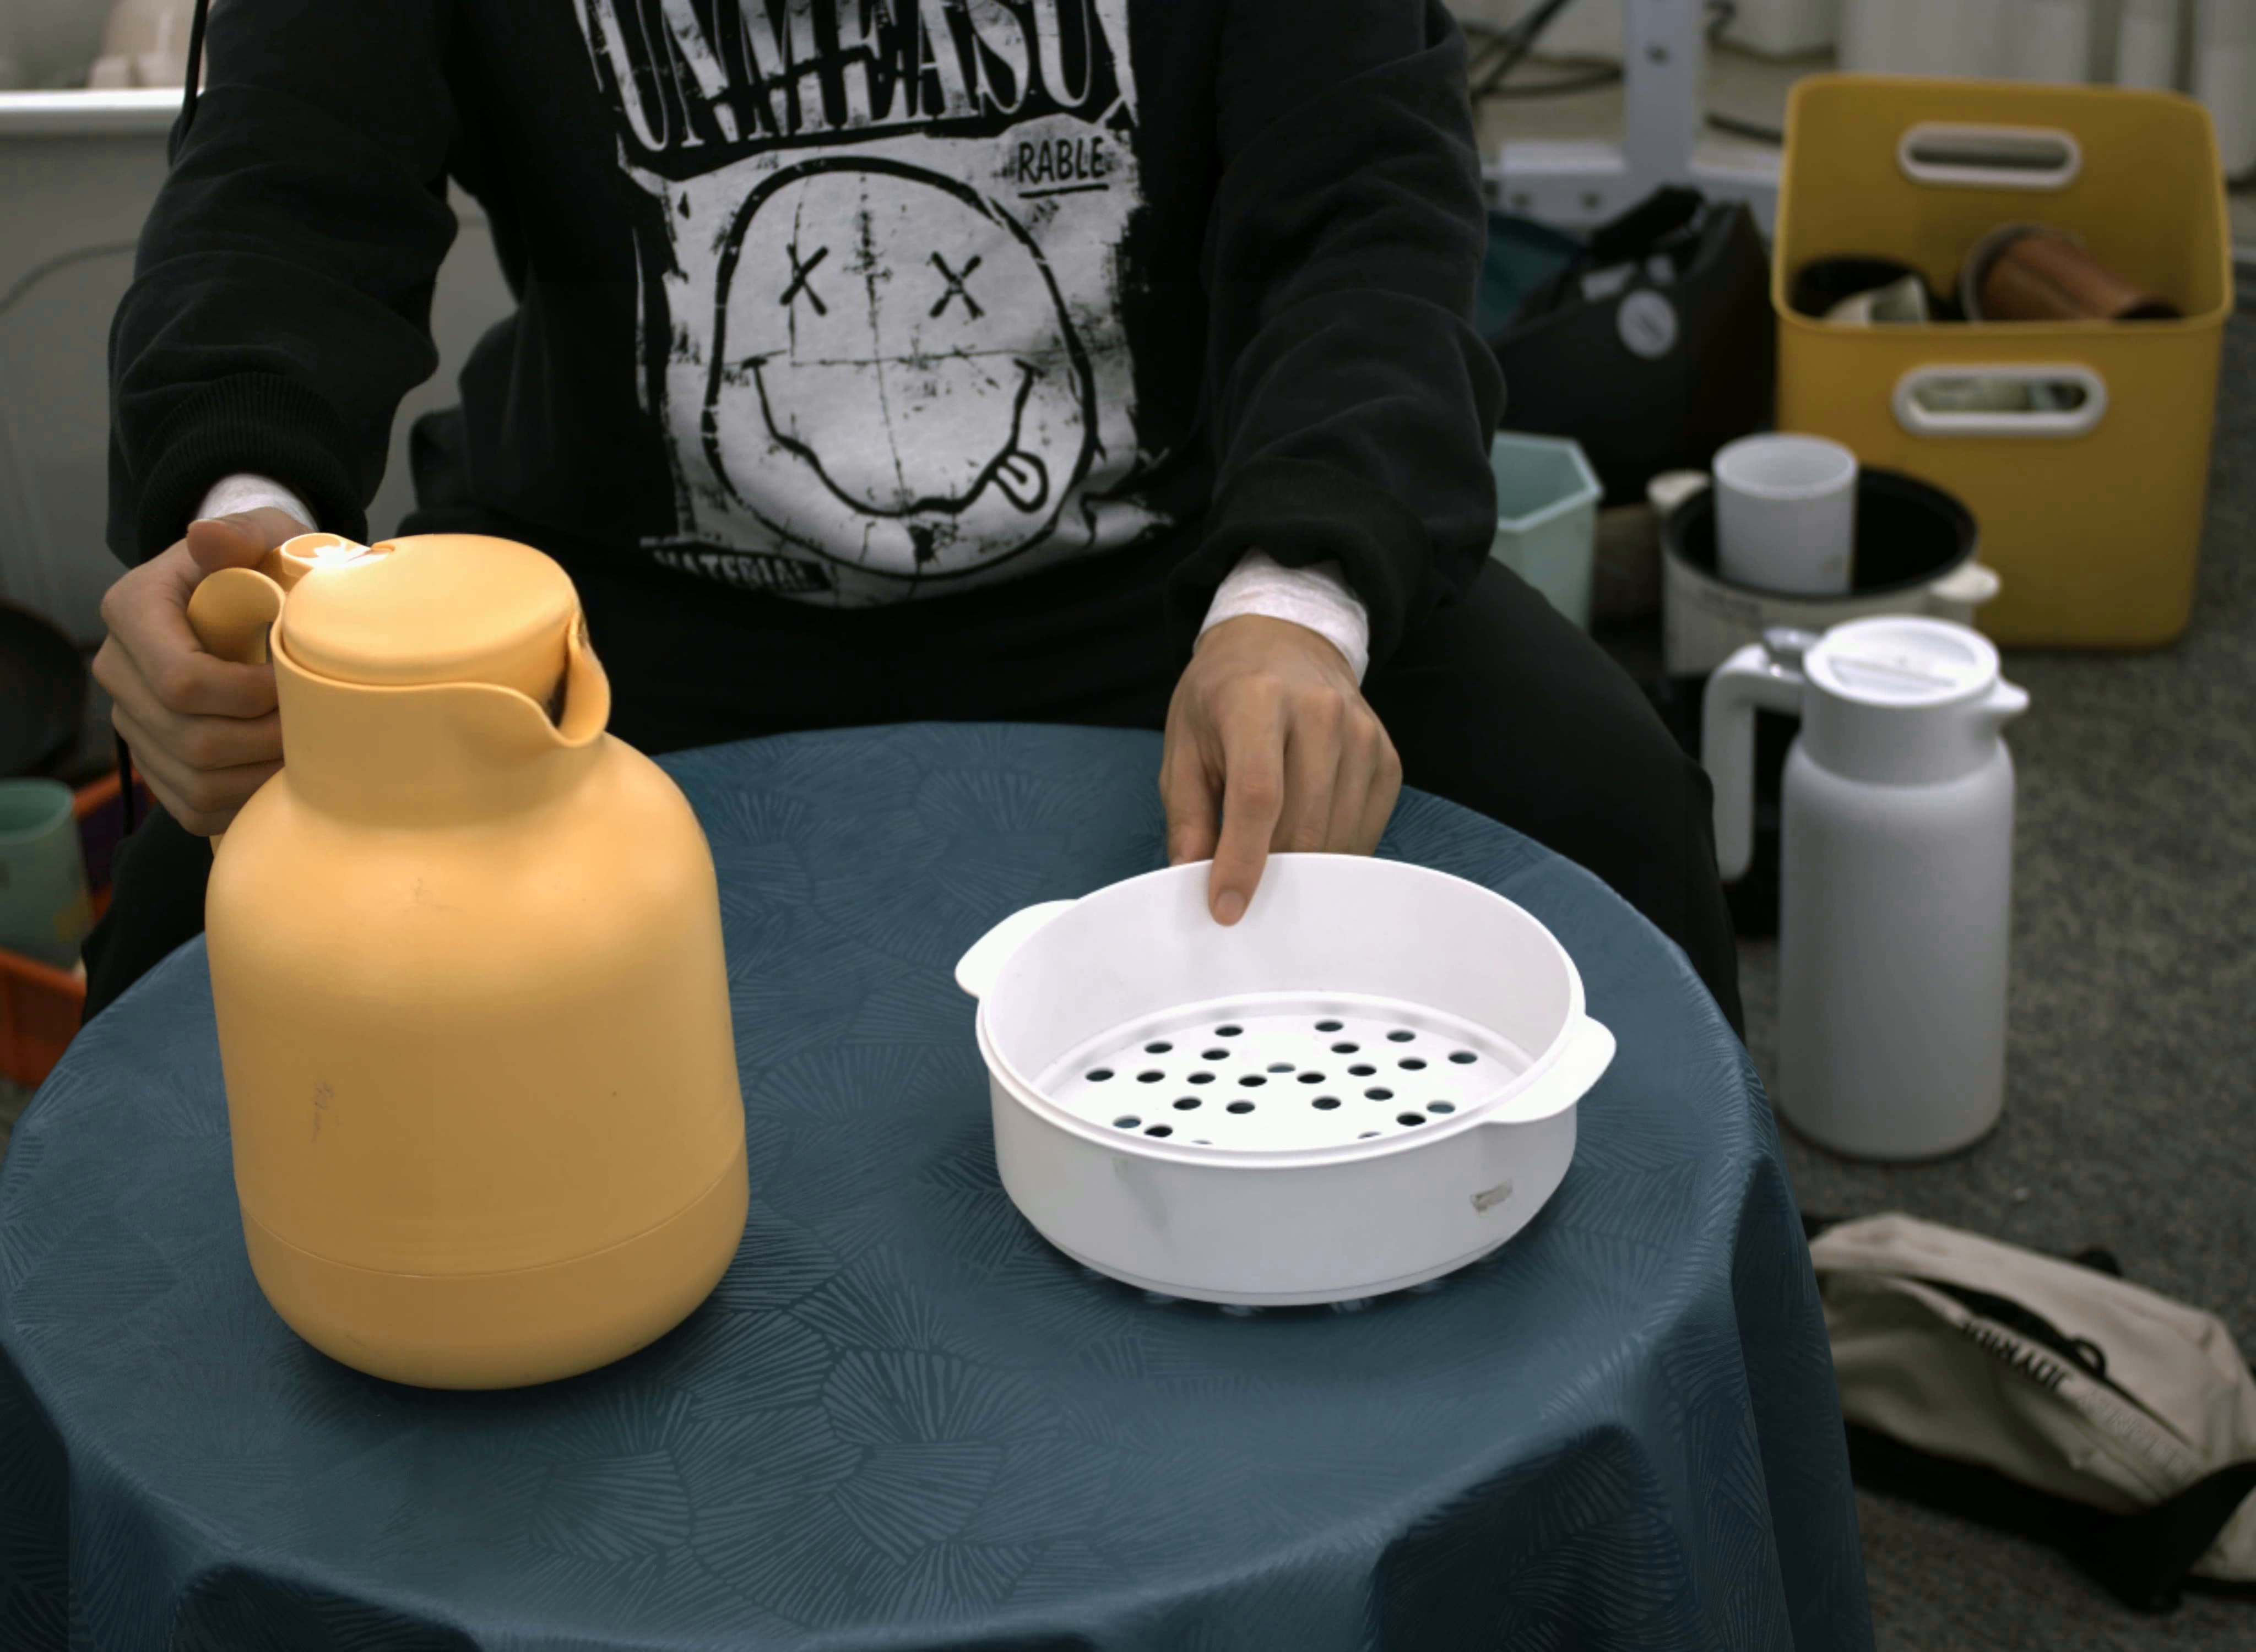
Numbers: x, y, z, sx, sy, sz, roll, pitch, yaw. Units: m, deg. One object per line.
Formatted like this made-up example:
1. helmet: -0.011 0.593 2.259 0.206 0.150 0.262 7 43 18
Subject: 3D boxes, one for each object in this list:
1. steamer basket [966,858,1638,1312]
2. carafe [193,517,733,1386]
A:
1. steamer basket: 0.055 0.085 1.851 0.229 0.068 0.205 14 31 25
2. carafe: -0.221 0.029 1.777 0.165 0.257 0.202 -21 33 -37
